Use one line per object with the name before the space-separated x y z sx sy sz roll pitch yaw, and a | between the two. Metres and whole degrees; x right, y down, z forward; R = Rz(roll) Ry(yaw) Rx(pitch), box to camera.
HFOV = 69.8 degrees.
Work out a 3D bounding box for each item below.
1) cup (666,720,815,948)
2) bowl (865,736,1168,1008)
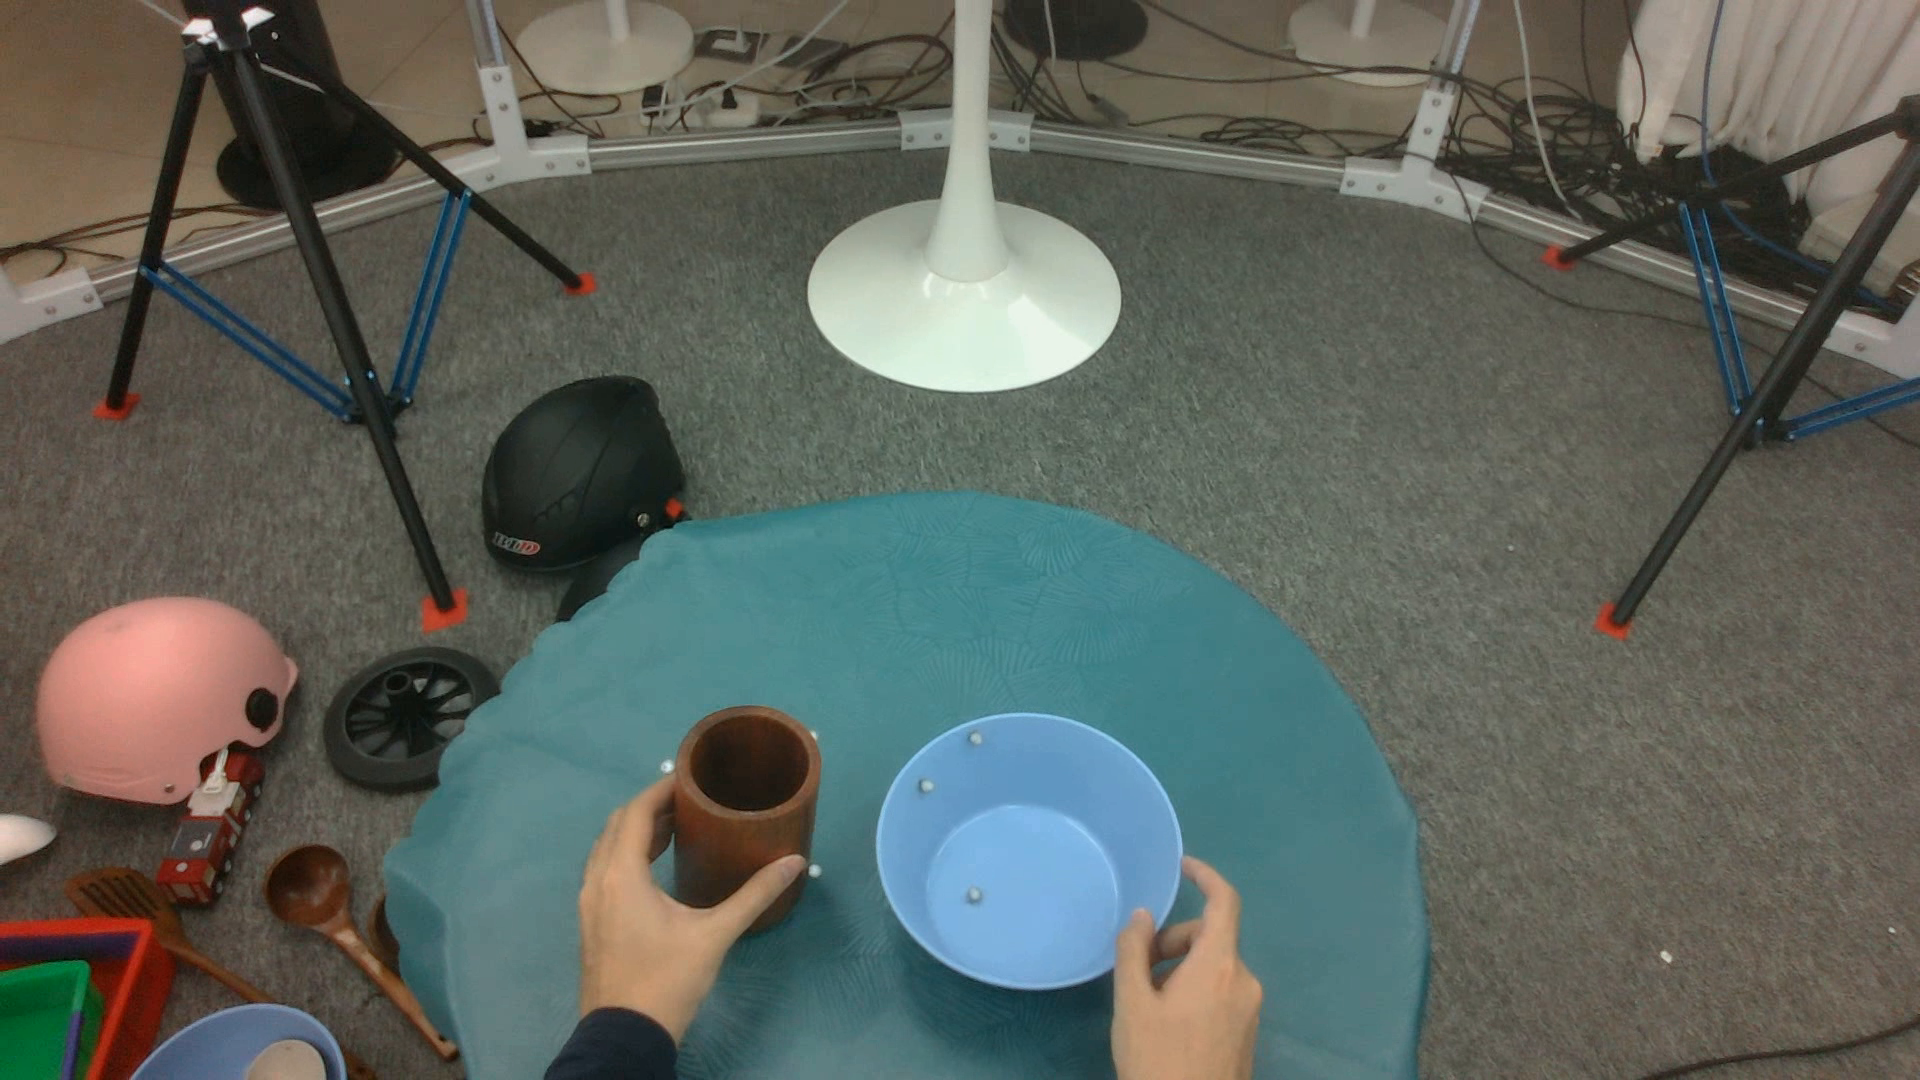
cup | -0.129 0.172 0.801 0.088 0.118 0.088 6 44 -5
bowl | 0.033 0.207 0.821 0.176 0.070 0.177 1 46 -1
